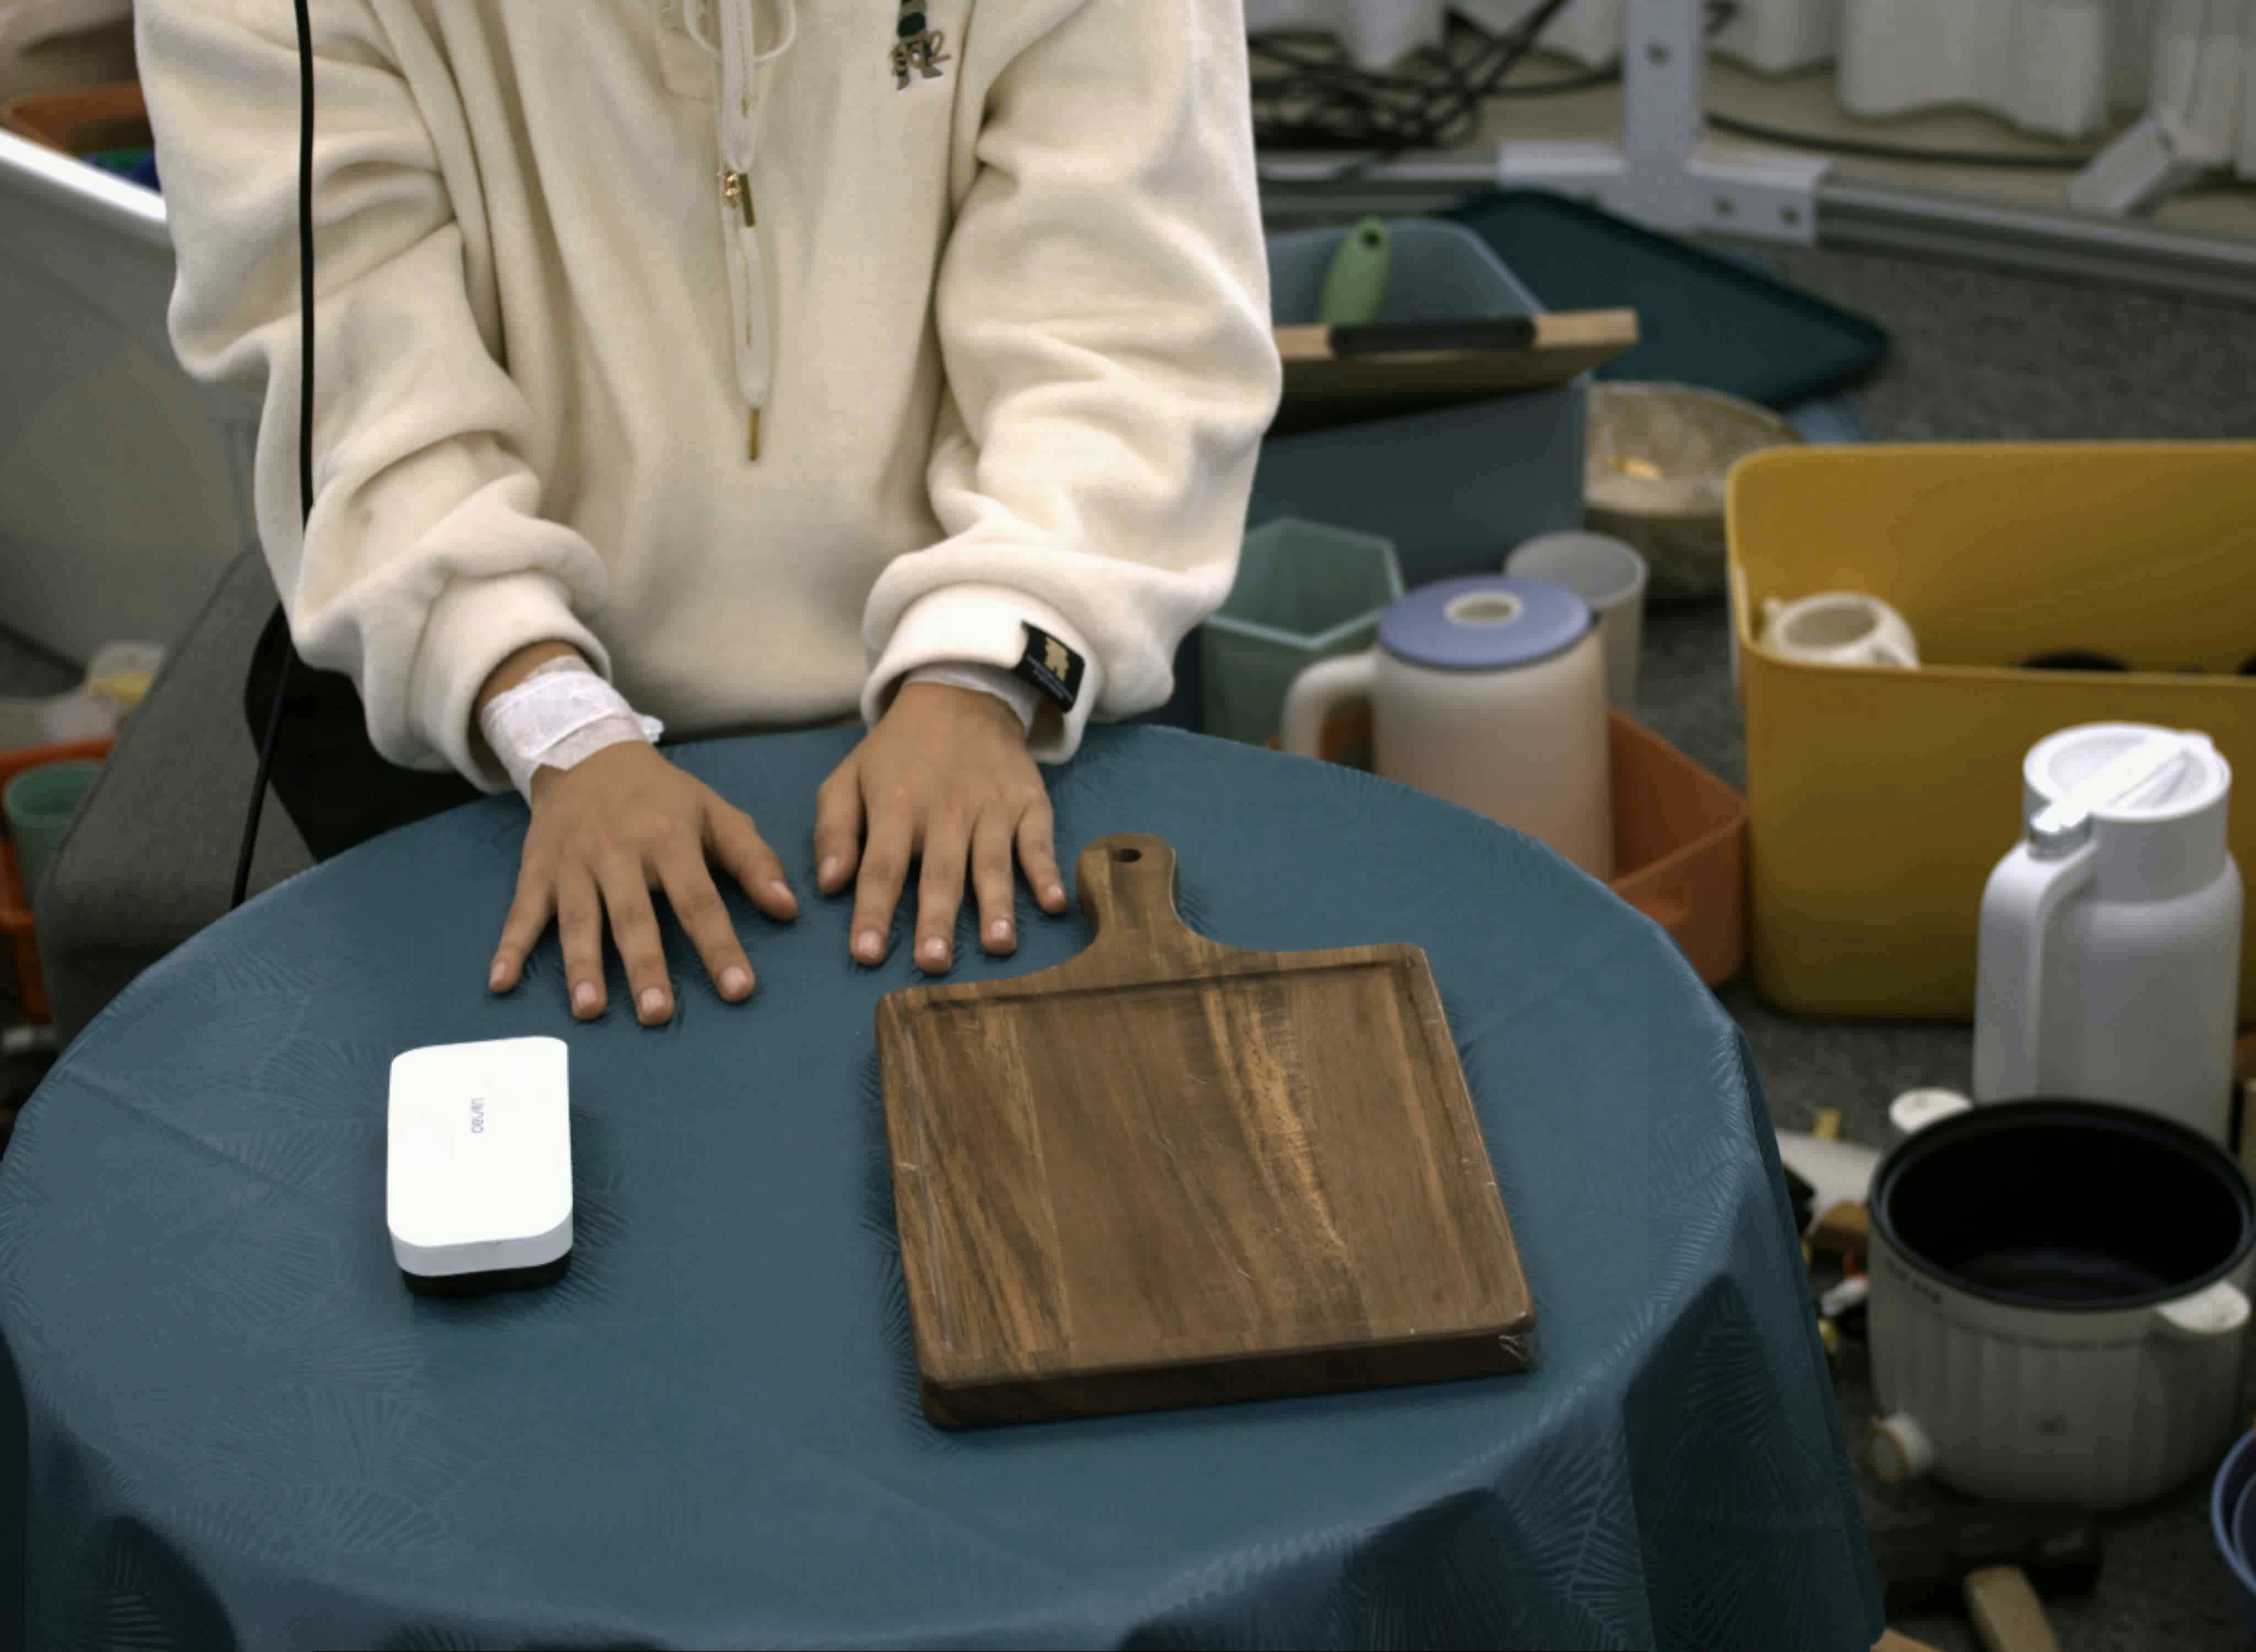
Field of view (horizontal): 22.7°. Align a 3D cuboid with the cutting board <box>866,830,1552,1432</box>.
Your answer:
[{"bbox_3d":[0.015,0.091,1.895,0.200,0.023,0.357,-5,28,-5],"label":"cutting board"}]

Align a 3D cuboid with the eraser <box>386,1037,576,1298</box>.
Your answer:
[{"bbox_3d":[-0.214,0.110,1.871,0.063,0.034,0.133,-5,28,-3],"label":"eraser"}]
